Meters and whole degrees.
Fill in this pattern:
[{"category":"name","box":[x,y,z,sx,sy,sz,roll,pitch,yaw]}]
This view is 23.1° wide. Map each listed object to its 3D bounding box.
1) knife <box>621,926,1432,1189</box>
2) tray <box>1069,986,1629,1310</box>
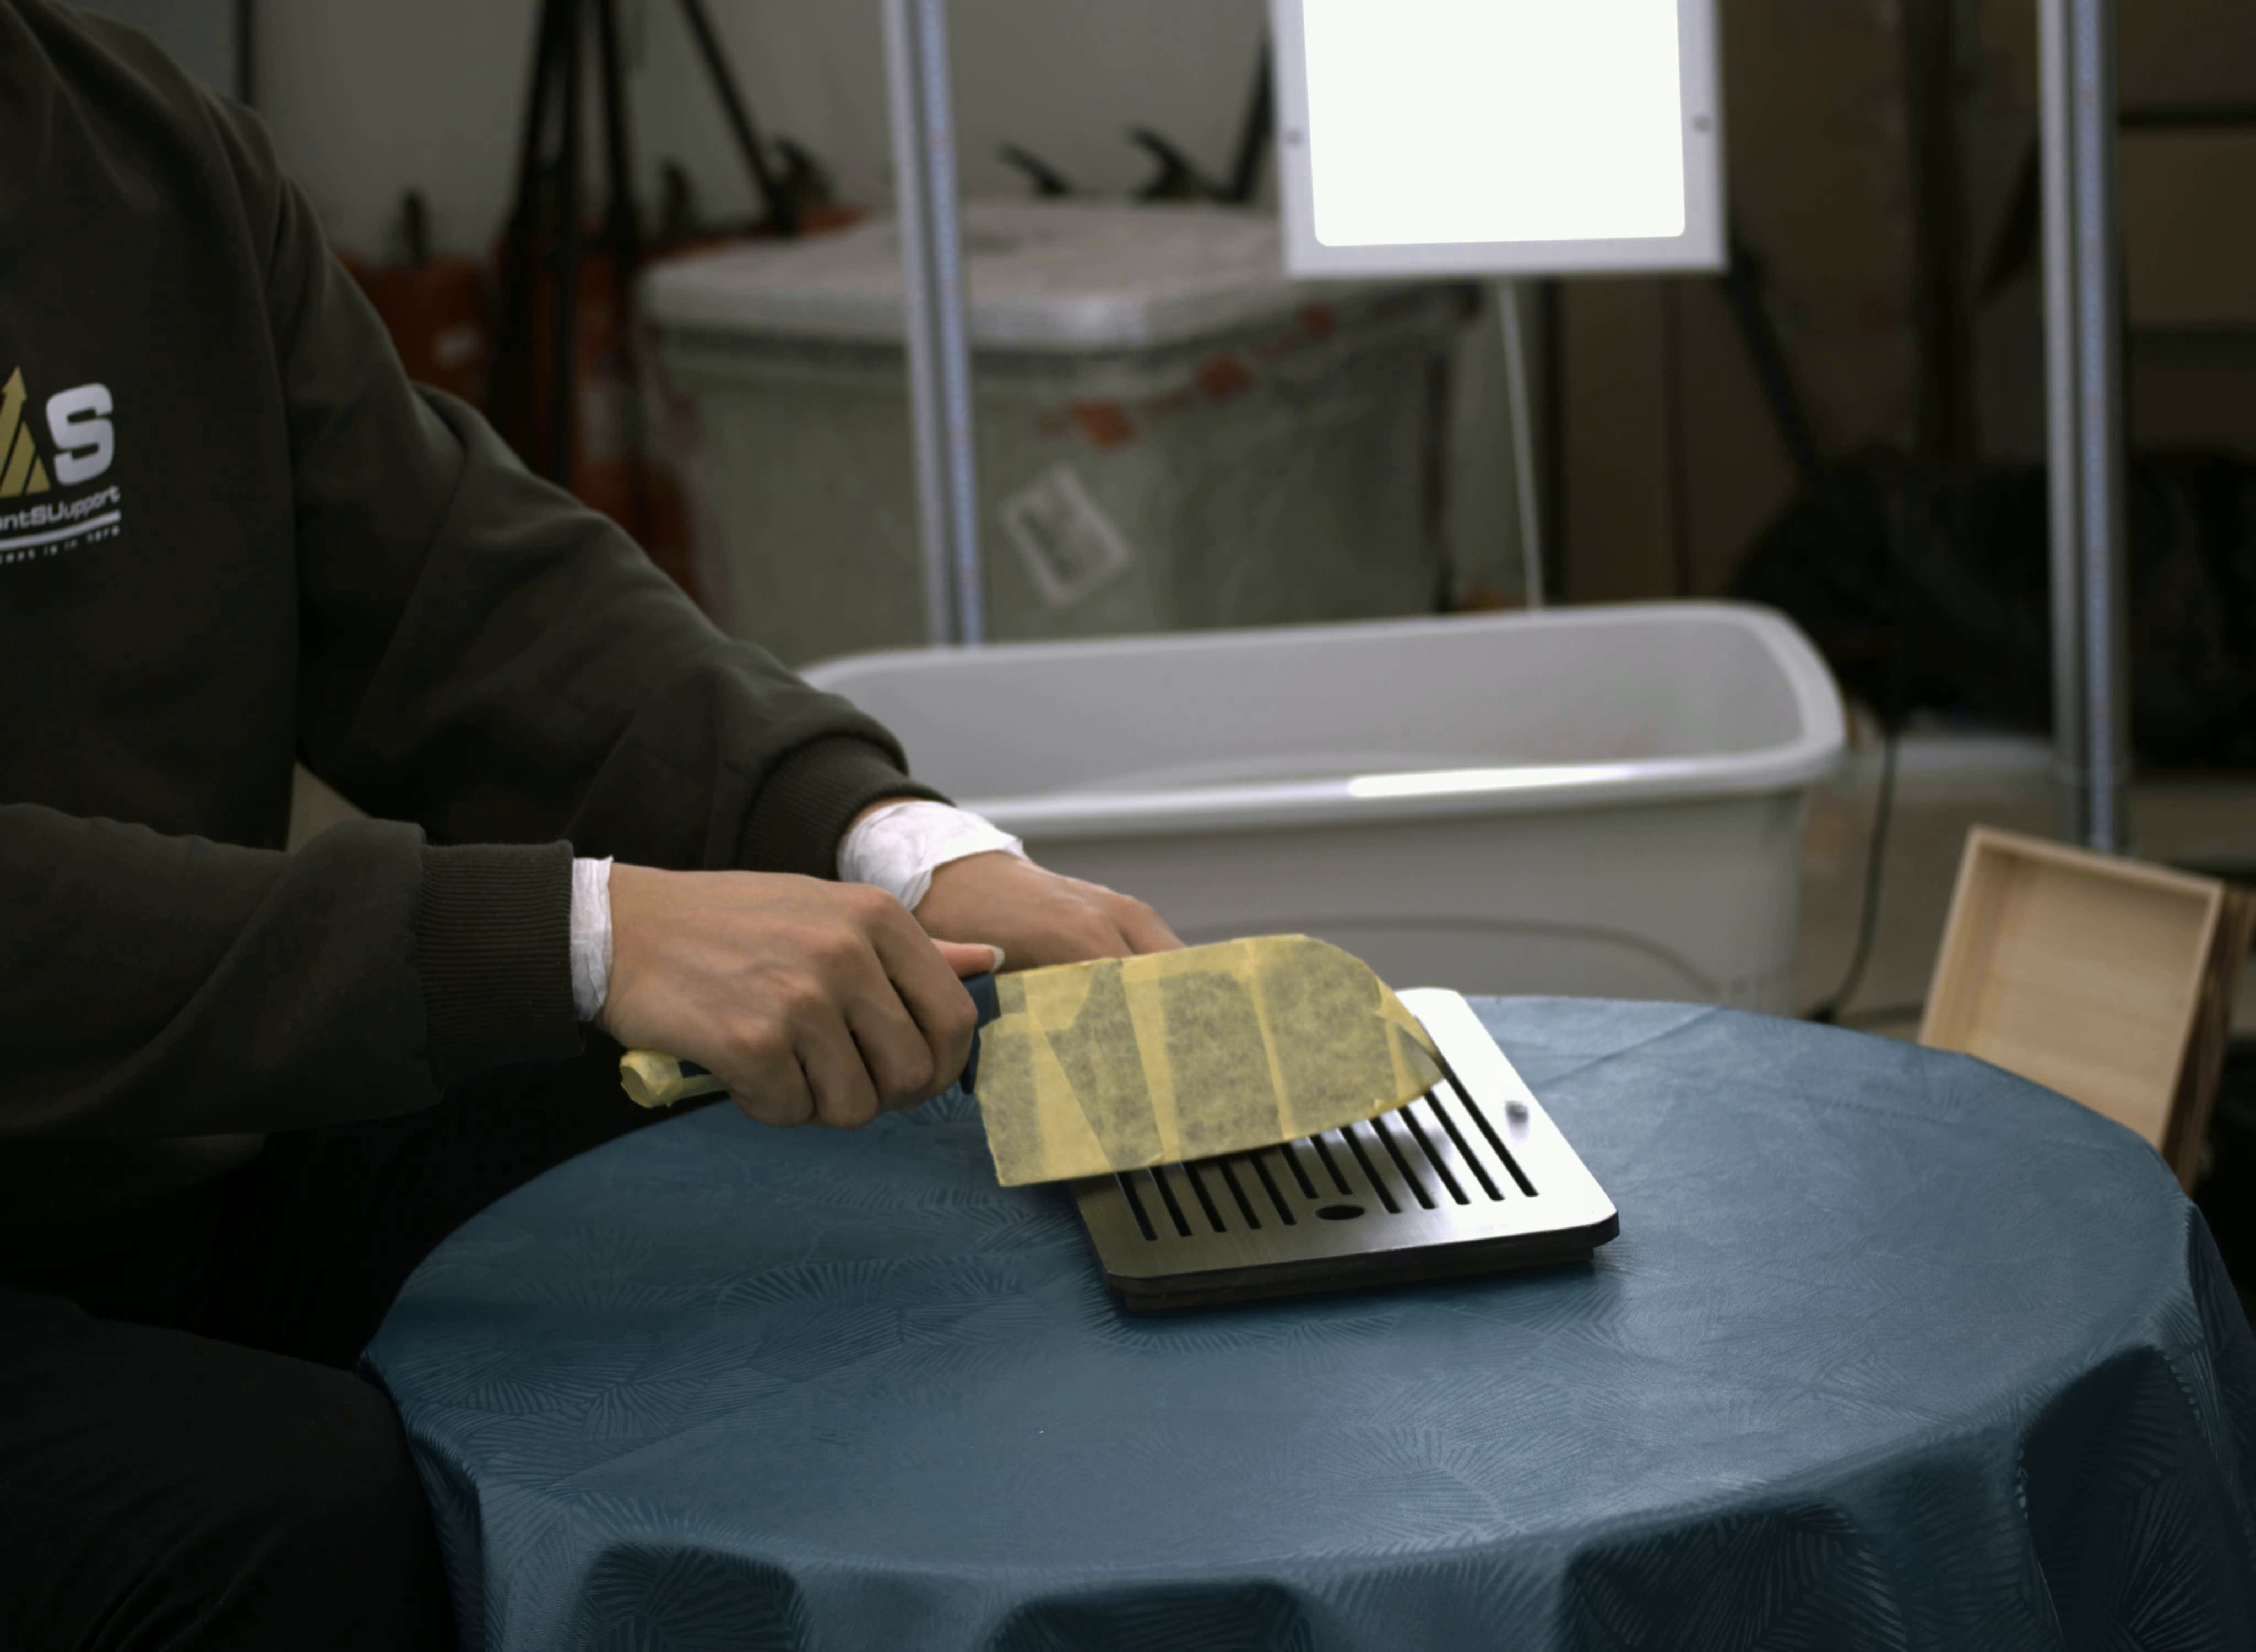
[{"category":"knife","box":[-0.030,0.082,1.866,0.285,0.081,0.027,-6,-15,-16]},{"category":"tray","box":[0.063,0.109,1.913,0.169,0.019,0.307,-7,13,-5]}]
